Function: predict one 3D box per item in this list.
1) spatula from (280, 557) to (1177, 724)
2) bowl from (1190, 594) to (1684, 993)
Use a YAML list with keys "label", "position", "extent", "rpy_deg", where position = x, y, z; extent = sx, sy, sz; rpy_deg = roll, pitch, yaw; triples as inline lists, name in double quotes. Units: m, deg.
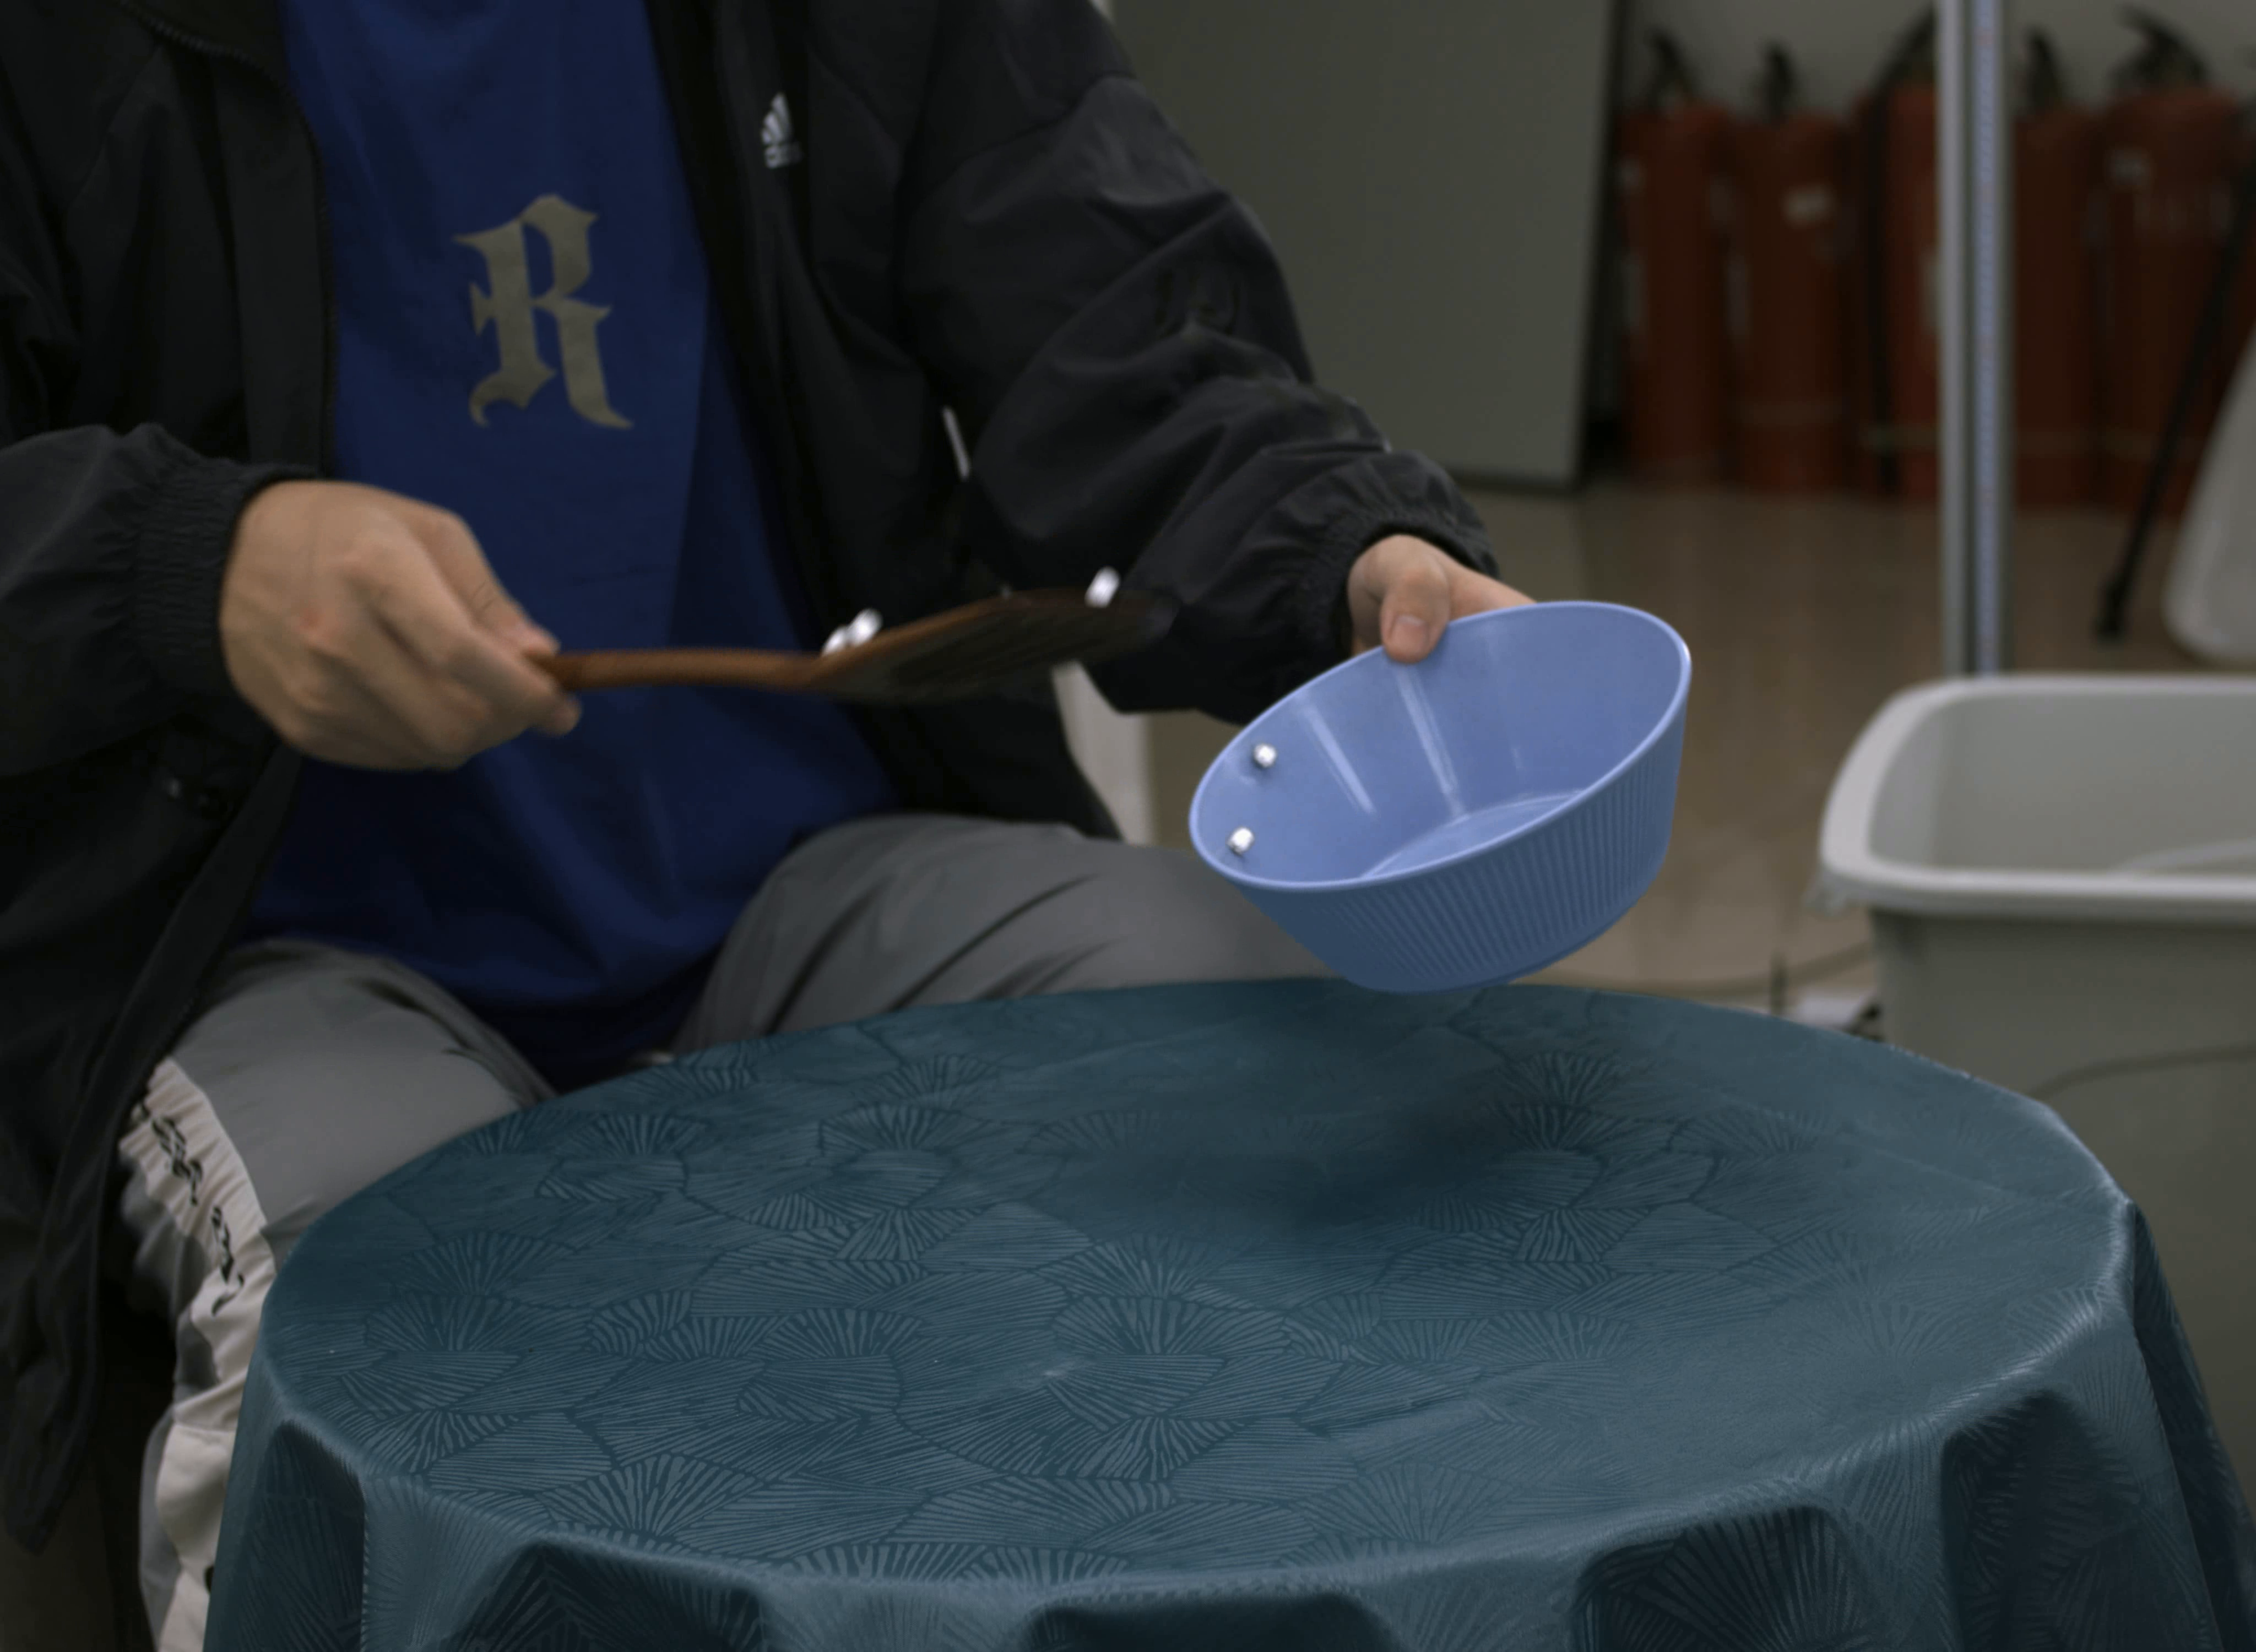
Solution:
- label: "spatula"
  position: [-0.145, -0.054, 1.737]
  extent: [0.390, 0.024, 0.083]
  rpy_deg: [-5, -6, 42]
- label: "bowl"
  position: [0.112, -0.003, 1.783]
  extent: [0.175, 0.070, 0.176]
  rpy_deg: [-21, 23, 8]
